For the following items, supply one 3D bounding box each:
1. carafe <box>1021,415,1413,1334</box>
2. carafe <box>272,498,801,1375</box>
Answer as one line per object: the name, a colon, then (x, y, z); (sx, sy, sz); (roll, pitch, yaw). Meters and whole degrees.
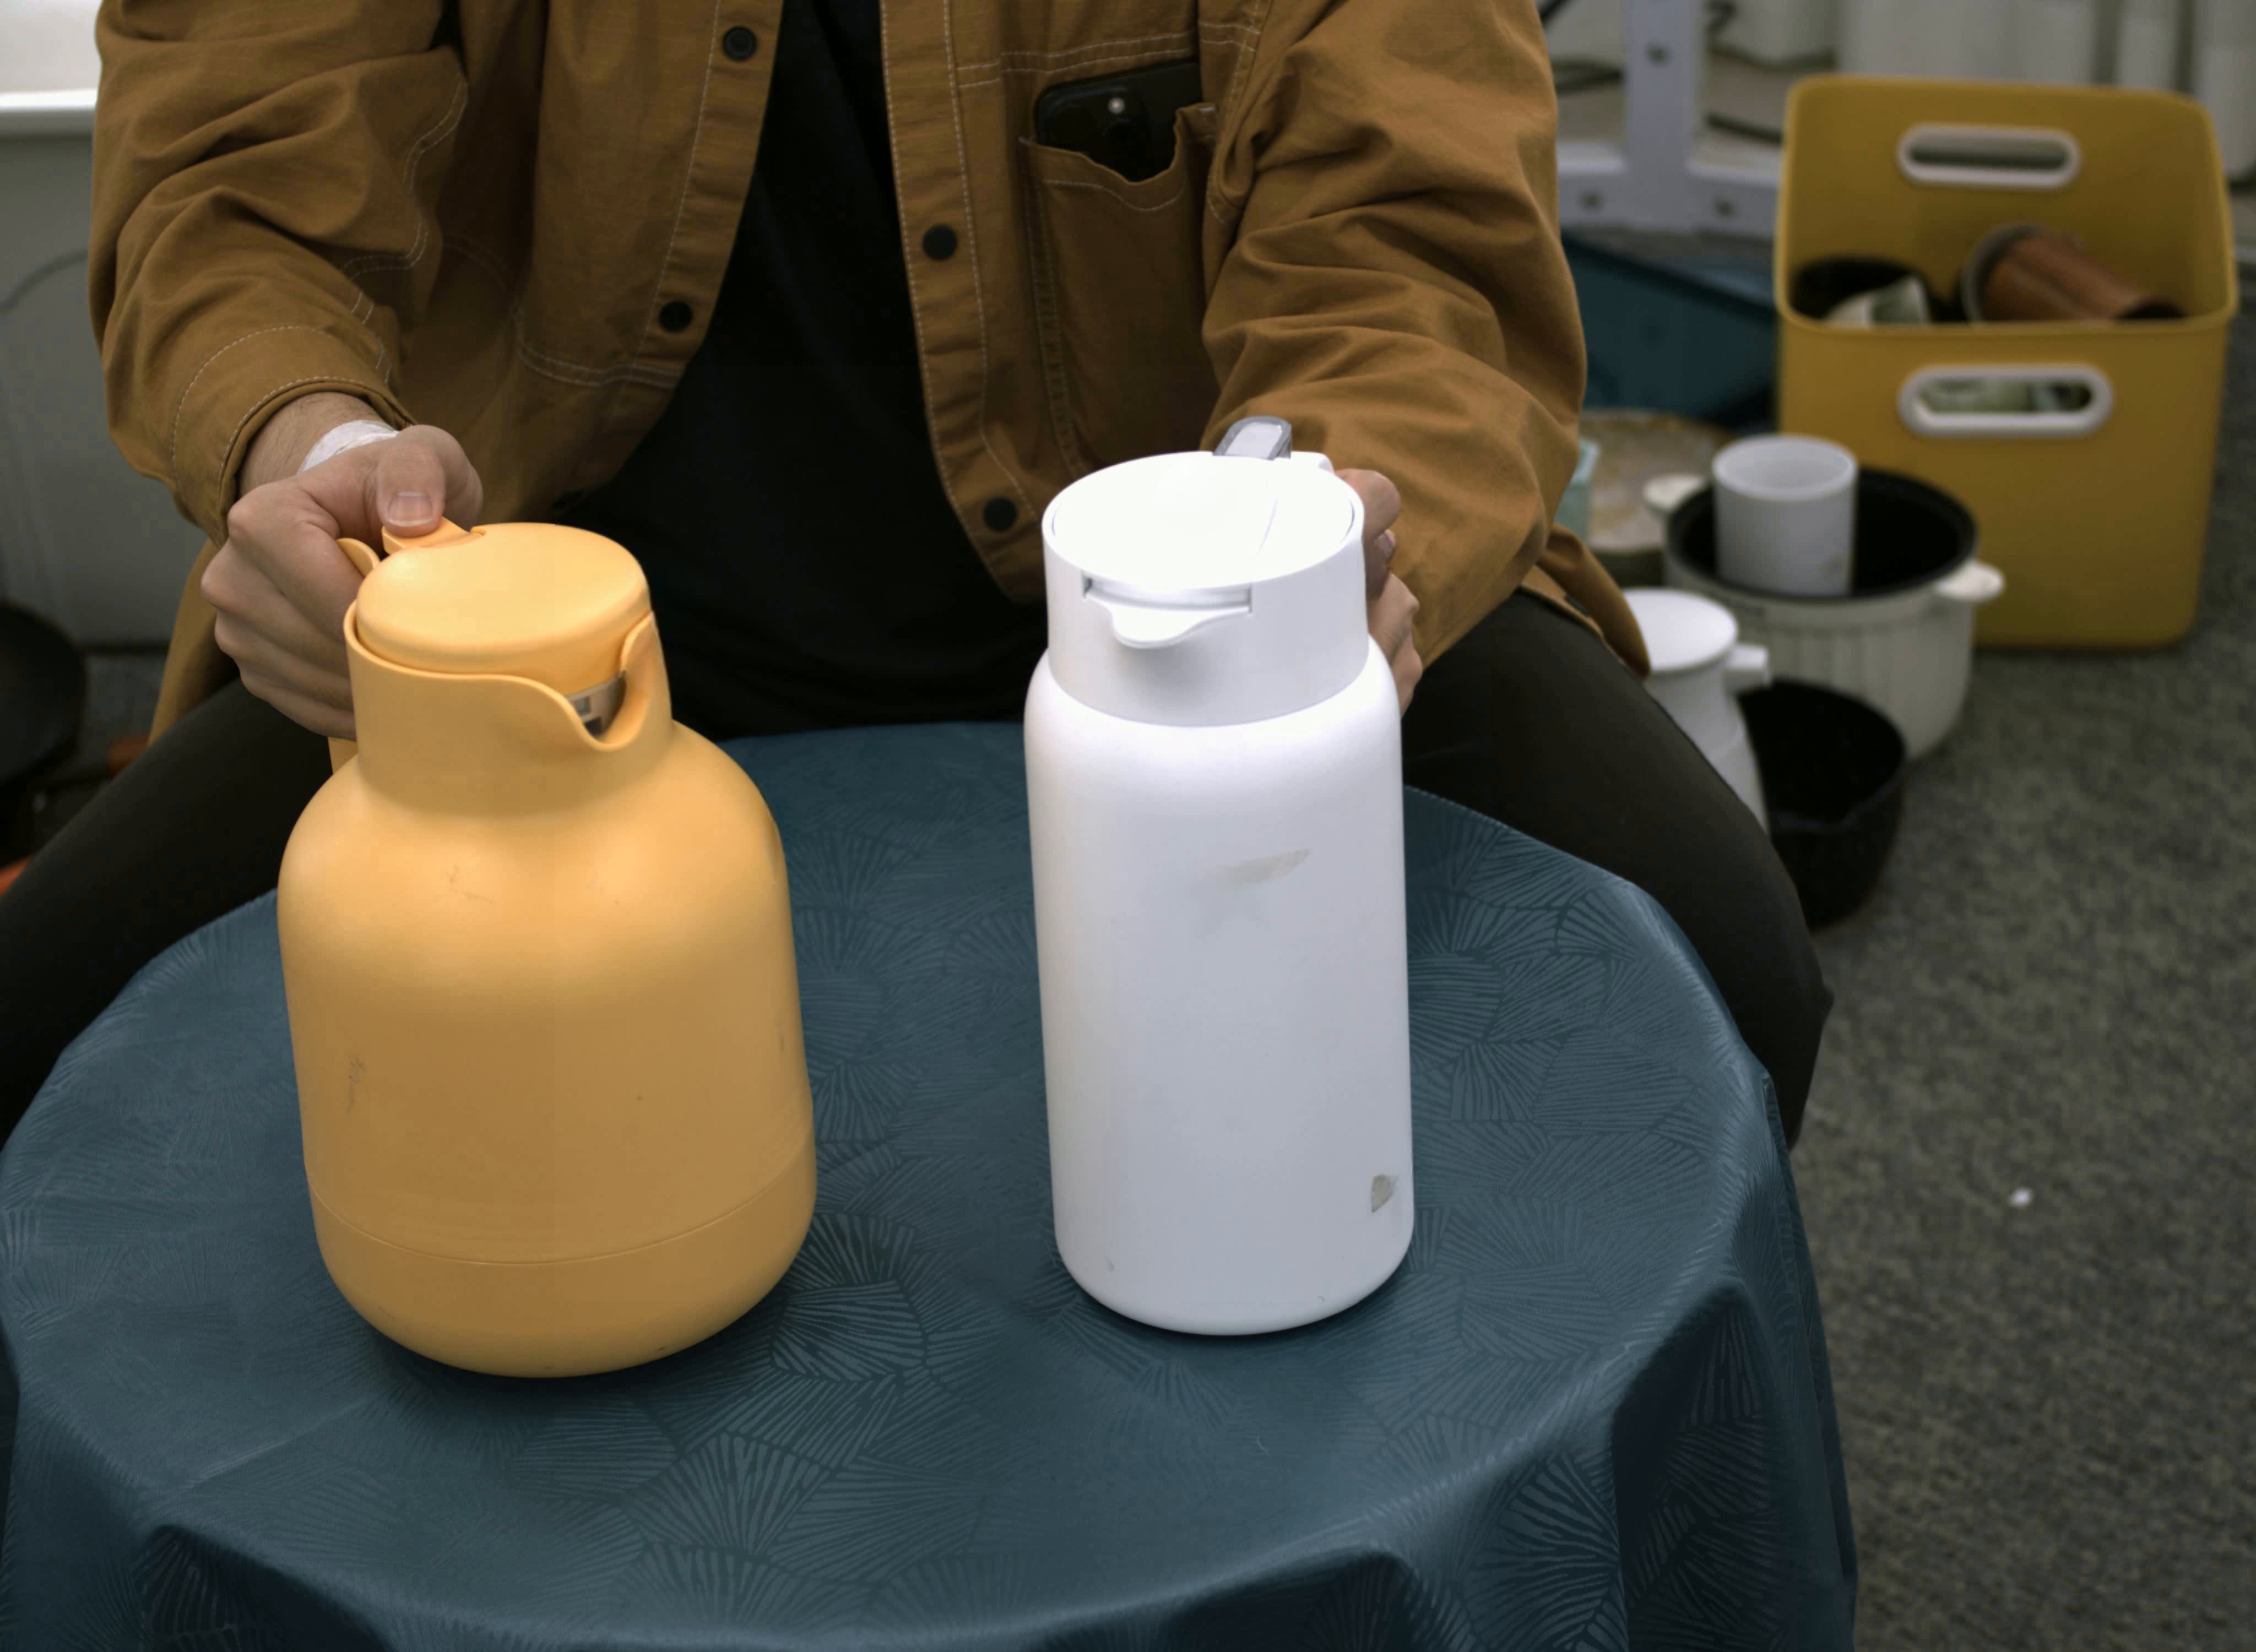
carafe: (0.031, 0.012, 1.781); (0.123, 0.266, 0.176); (3, 27, 16)
carafe: (-0.196, 0.025, 1.783); (0.164, 0.257, 0.203); (-14, 30, -27)
